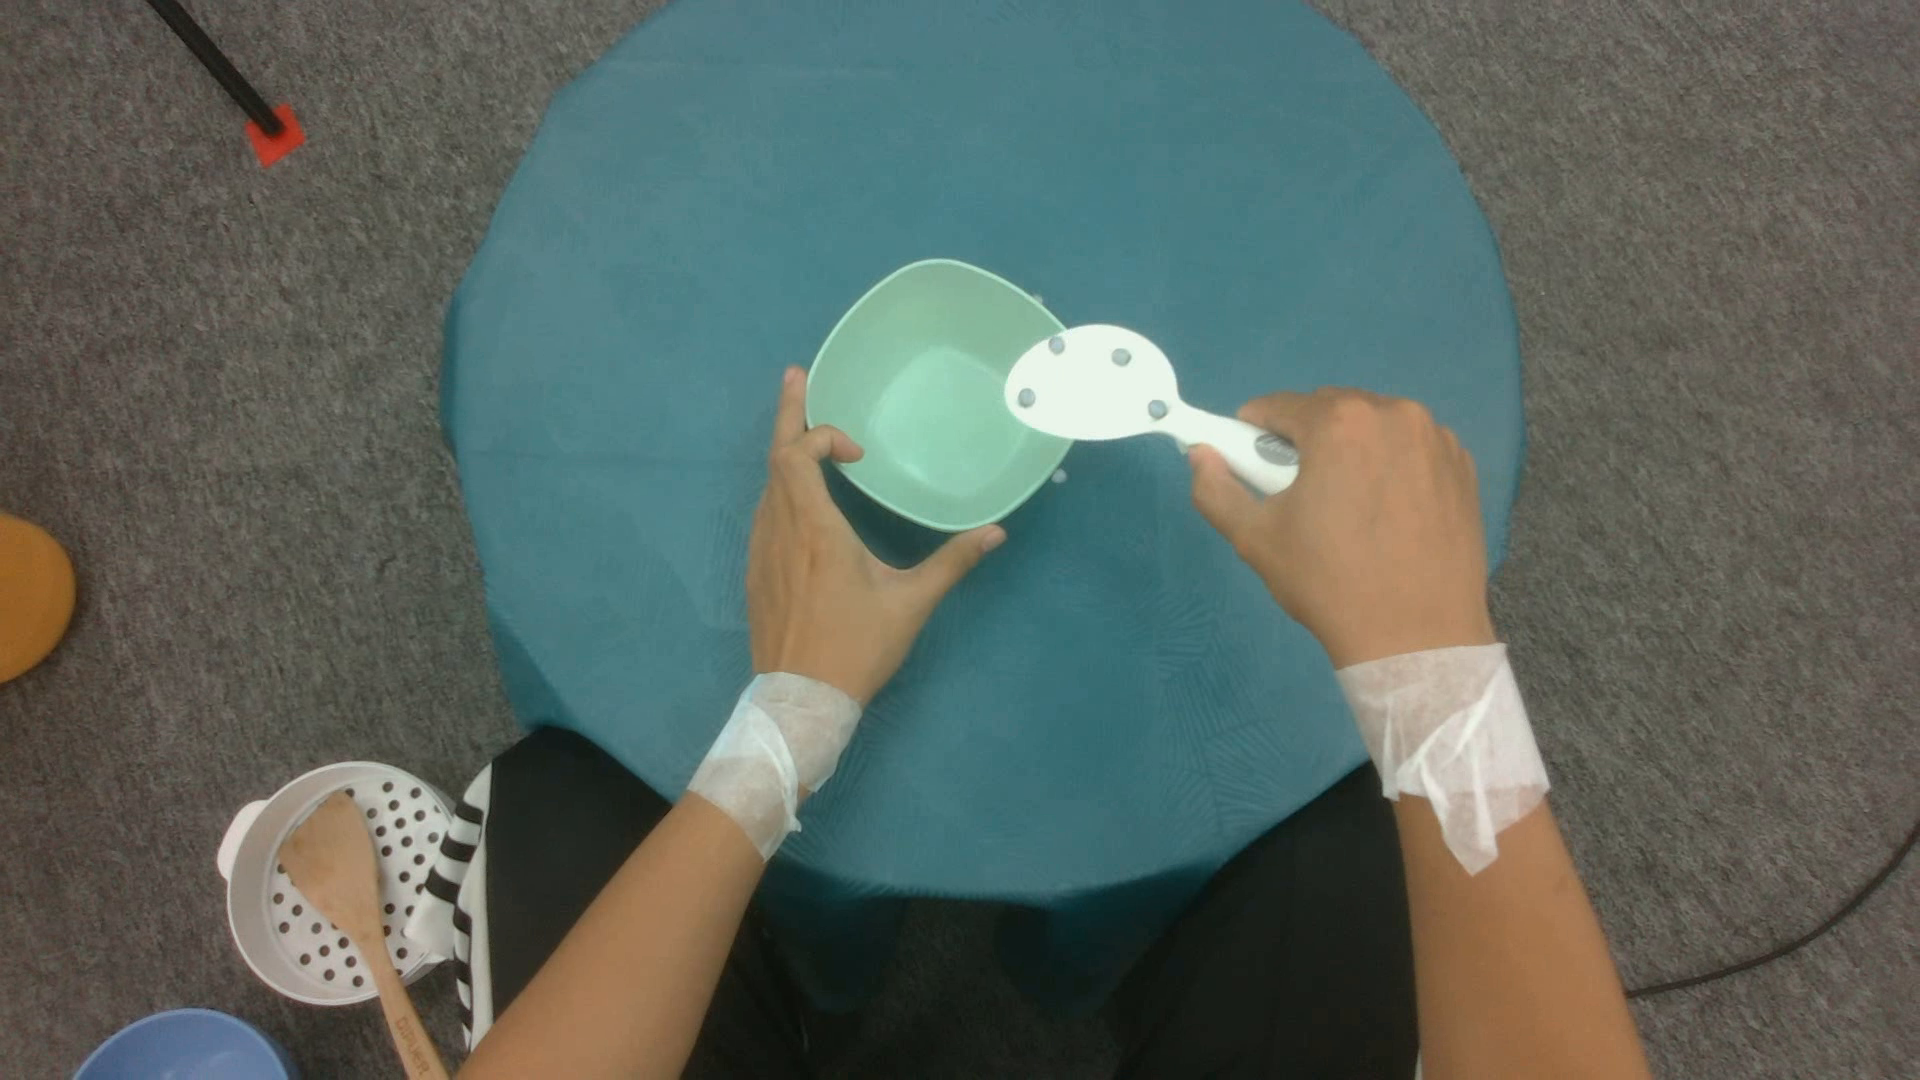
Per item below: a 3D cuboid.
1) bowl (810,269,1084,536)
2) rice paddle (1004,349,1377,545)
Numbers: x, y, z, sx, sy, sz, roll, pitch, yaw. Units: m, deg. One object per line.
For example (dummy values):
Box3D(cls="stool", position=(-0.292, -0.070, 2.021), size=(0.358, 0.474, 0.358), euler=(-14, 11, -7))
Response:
Box3D(cls="bowl", position=(-0.004, -0.067, 0.752), size=(0.151, 0.058, 0.152), euler=(0, 73, -1))
Box3D(cls="rice paddle", position=(0.093, -0.047, 0.618), size=(0.069, 0.029, 0.205), euler=(-44, 42, -16))
